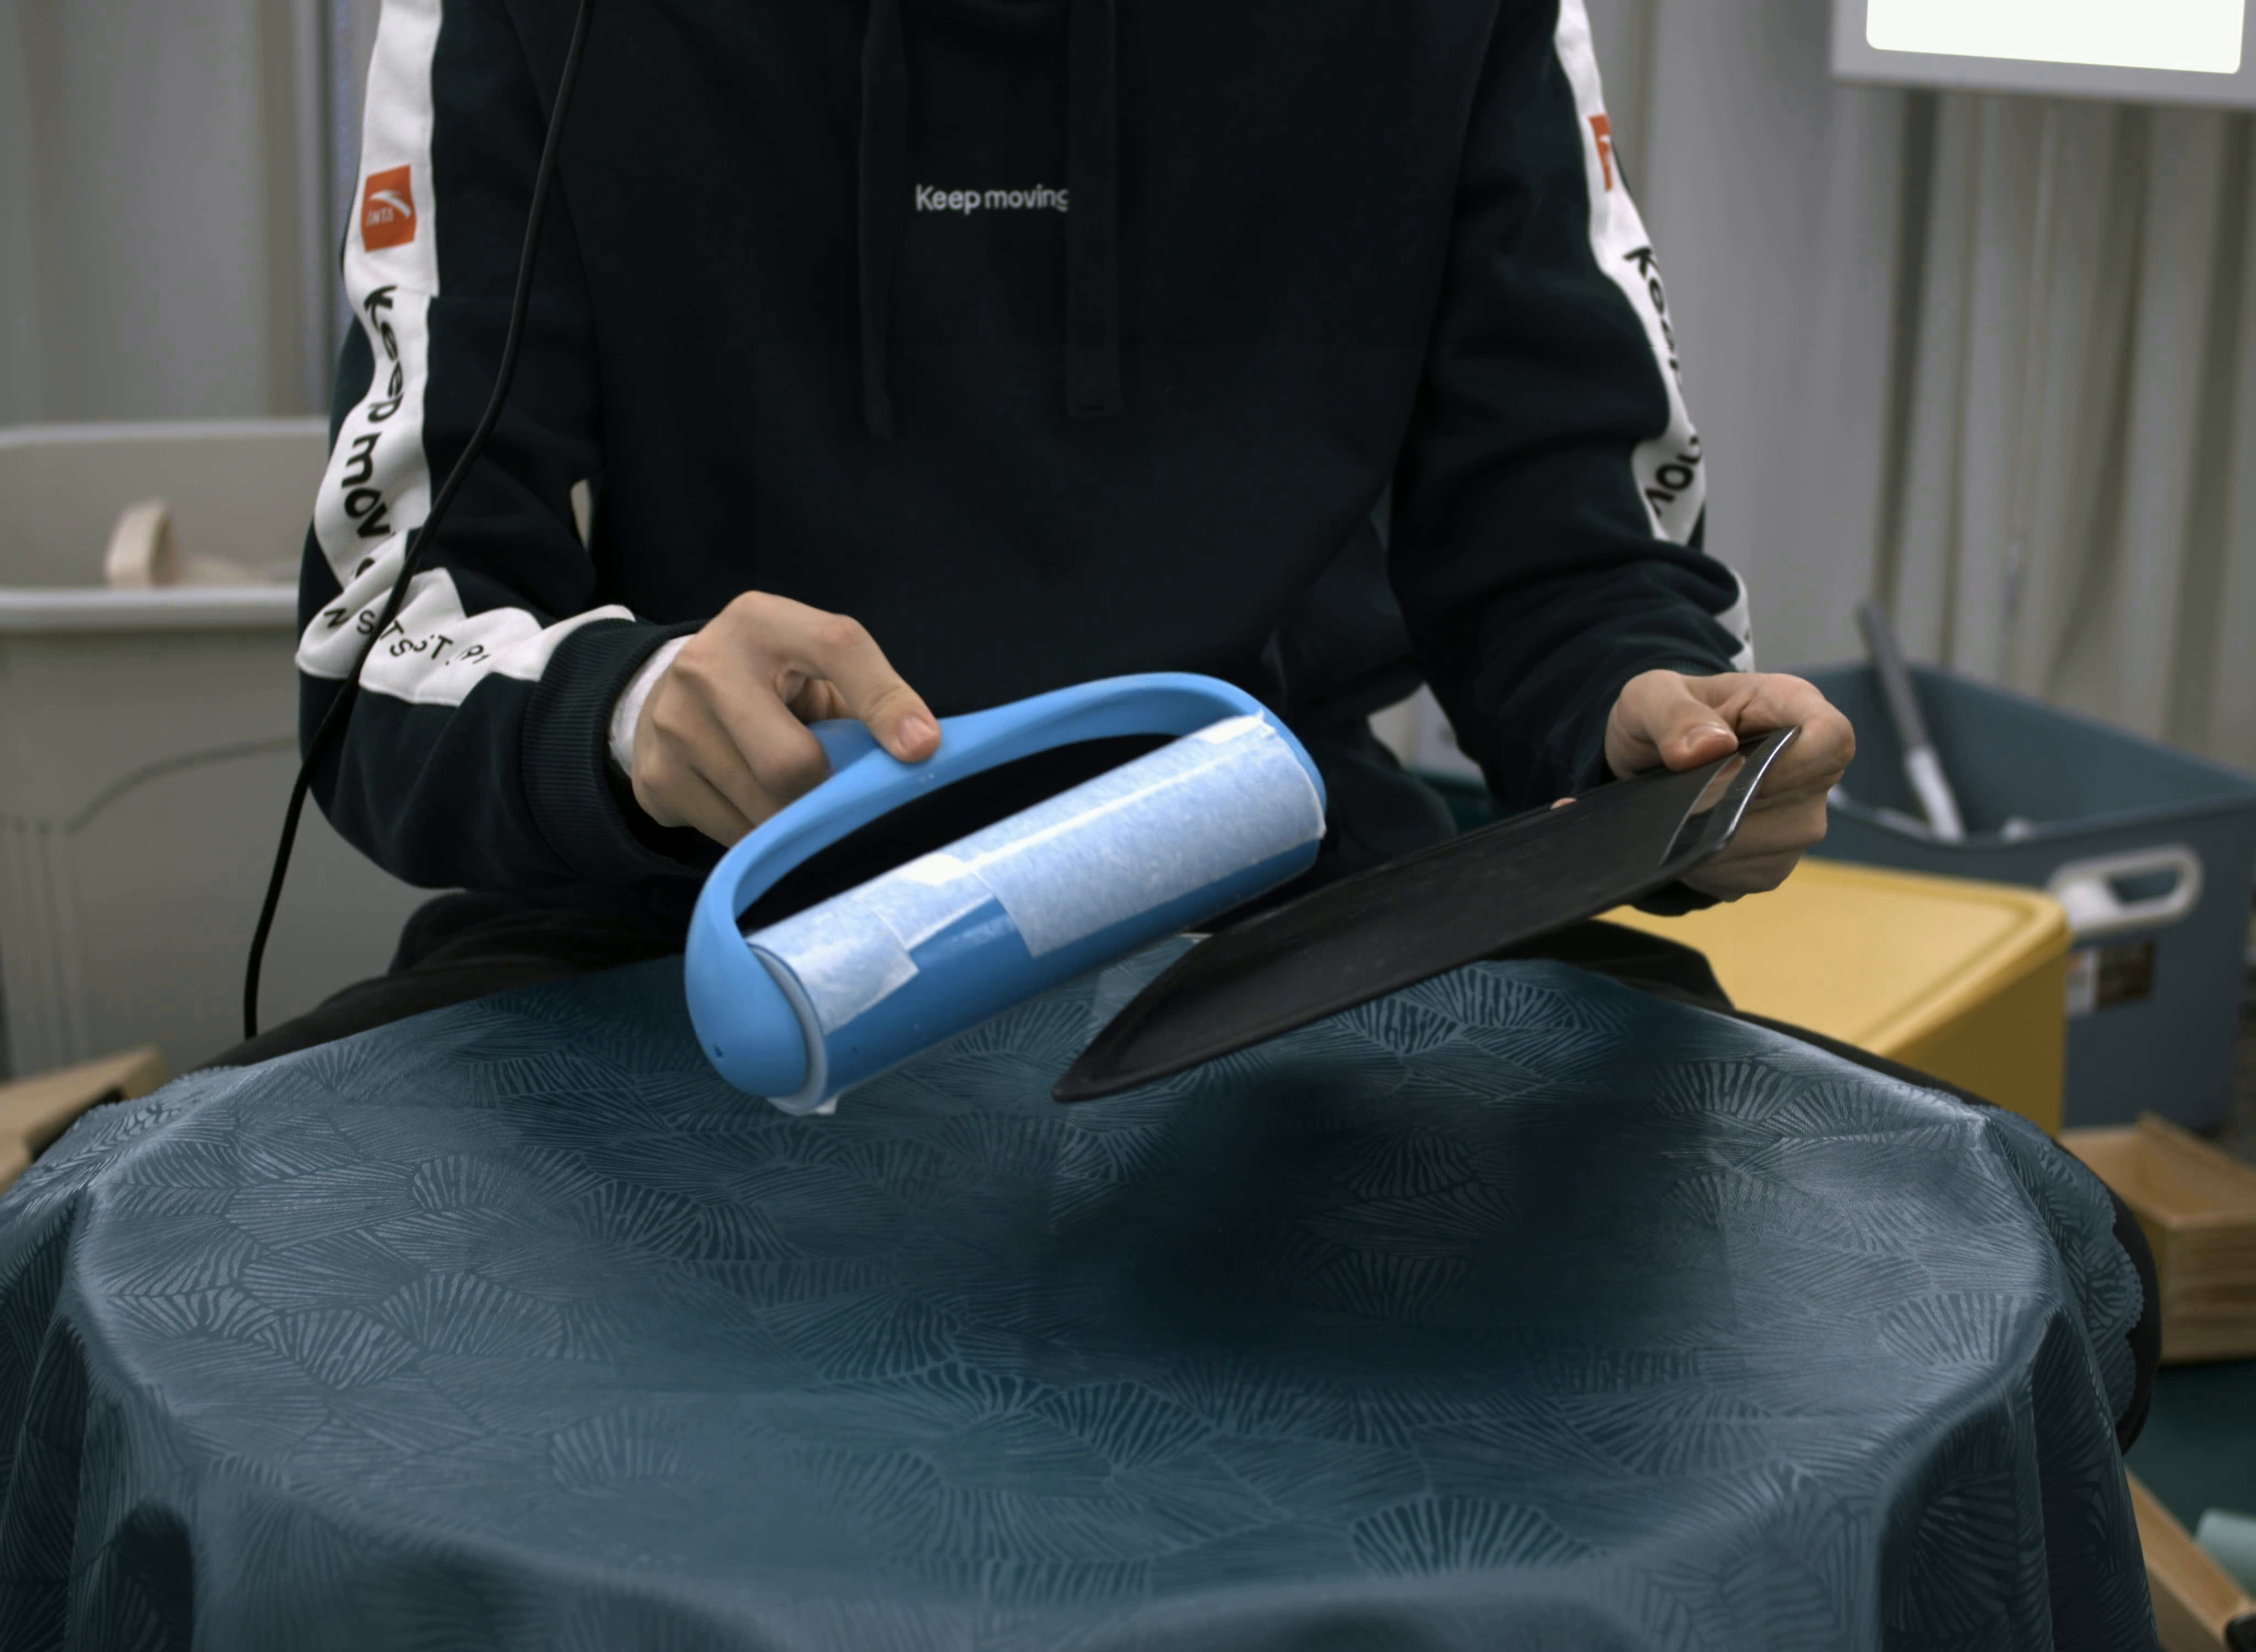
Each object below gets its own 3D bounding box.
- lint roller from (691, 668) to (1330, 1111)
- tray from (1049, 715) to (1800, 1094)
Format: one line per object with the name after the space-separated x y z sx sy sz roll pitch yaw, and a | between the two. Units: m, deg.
-0.070 0.001 1.592 0.229 0.069 0.178 -28 40 -35 | lint roller
0.096 0.019 1.590 0.210 0.010 0.325 -22 4 15 | tray
